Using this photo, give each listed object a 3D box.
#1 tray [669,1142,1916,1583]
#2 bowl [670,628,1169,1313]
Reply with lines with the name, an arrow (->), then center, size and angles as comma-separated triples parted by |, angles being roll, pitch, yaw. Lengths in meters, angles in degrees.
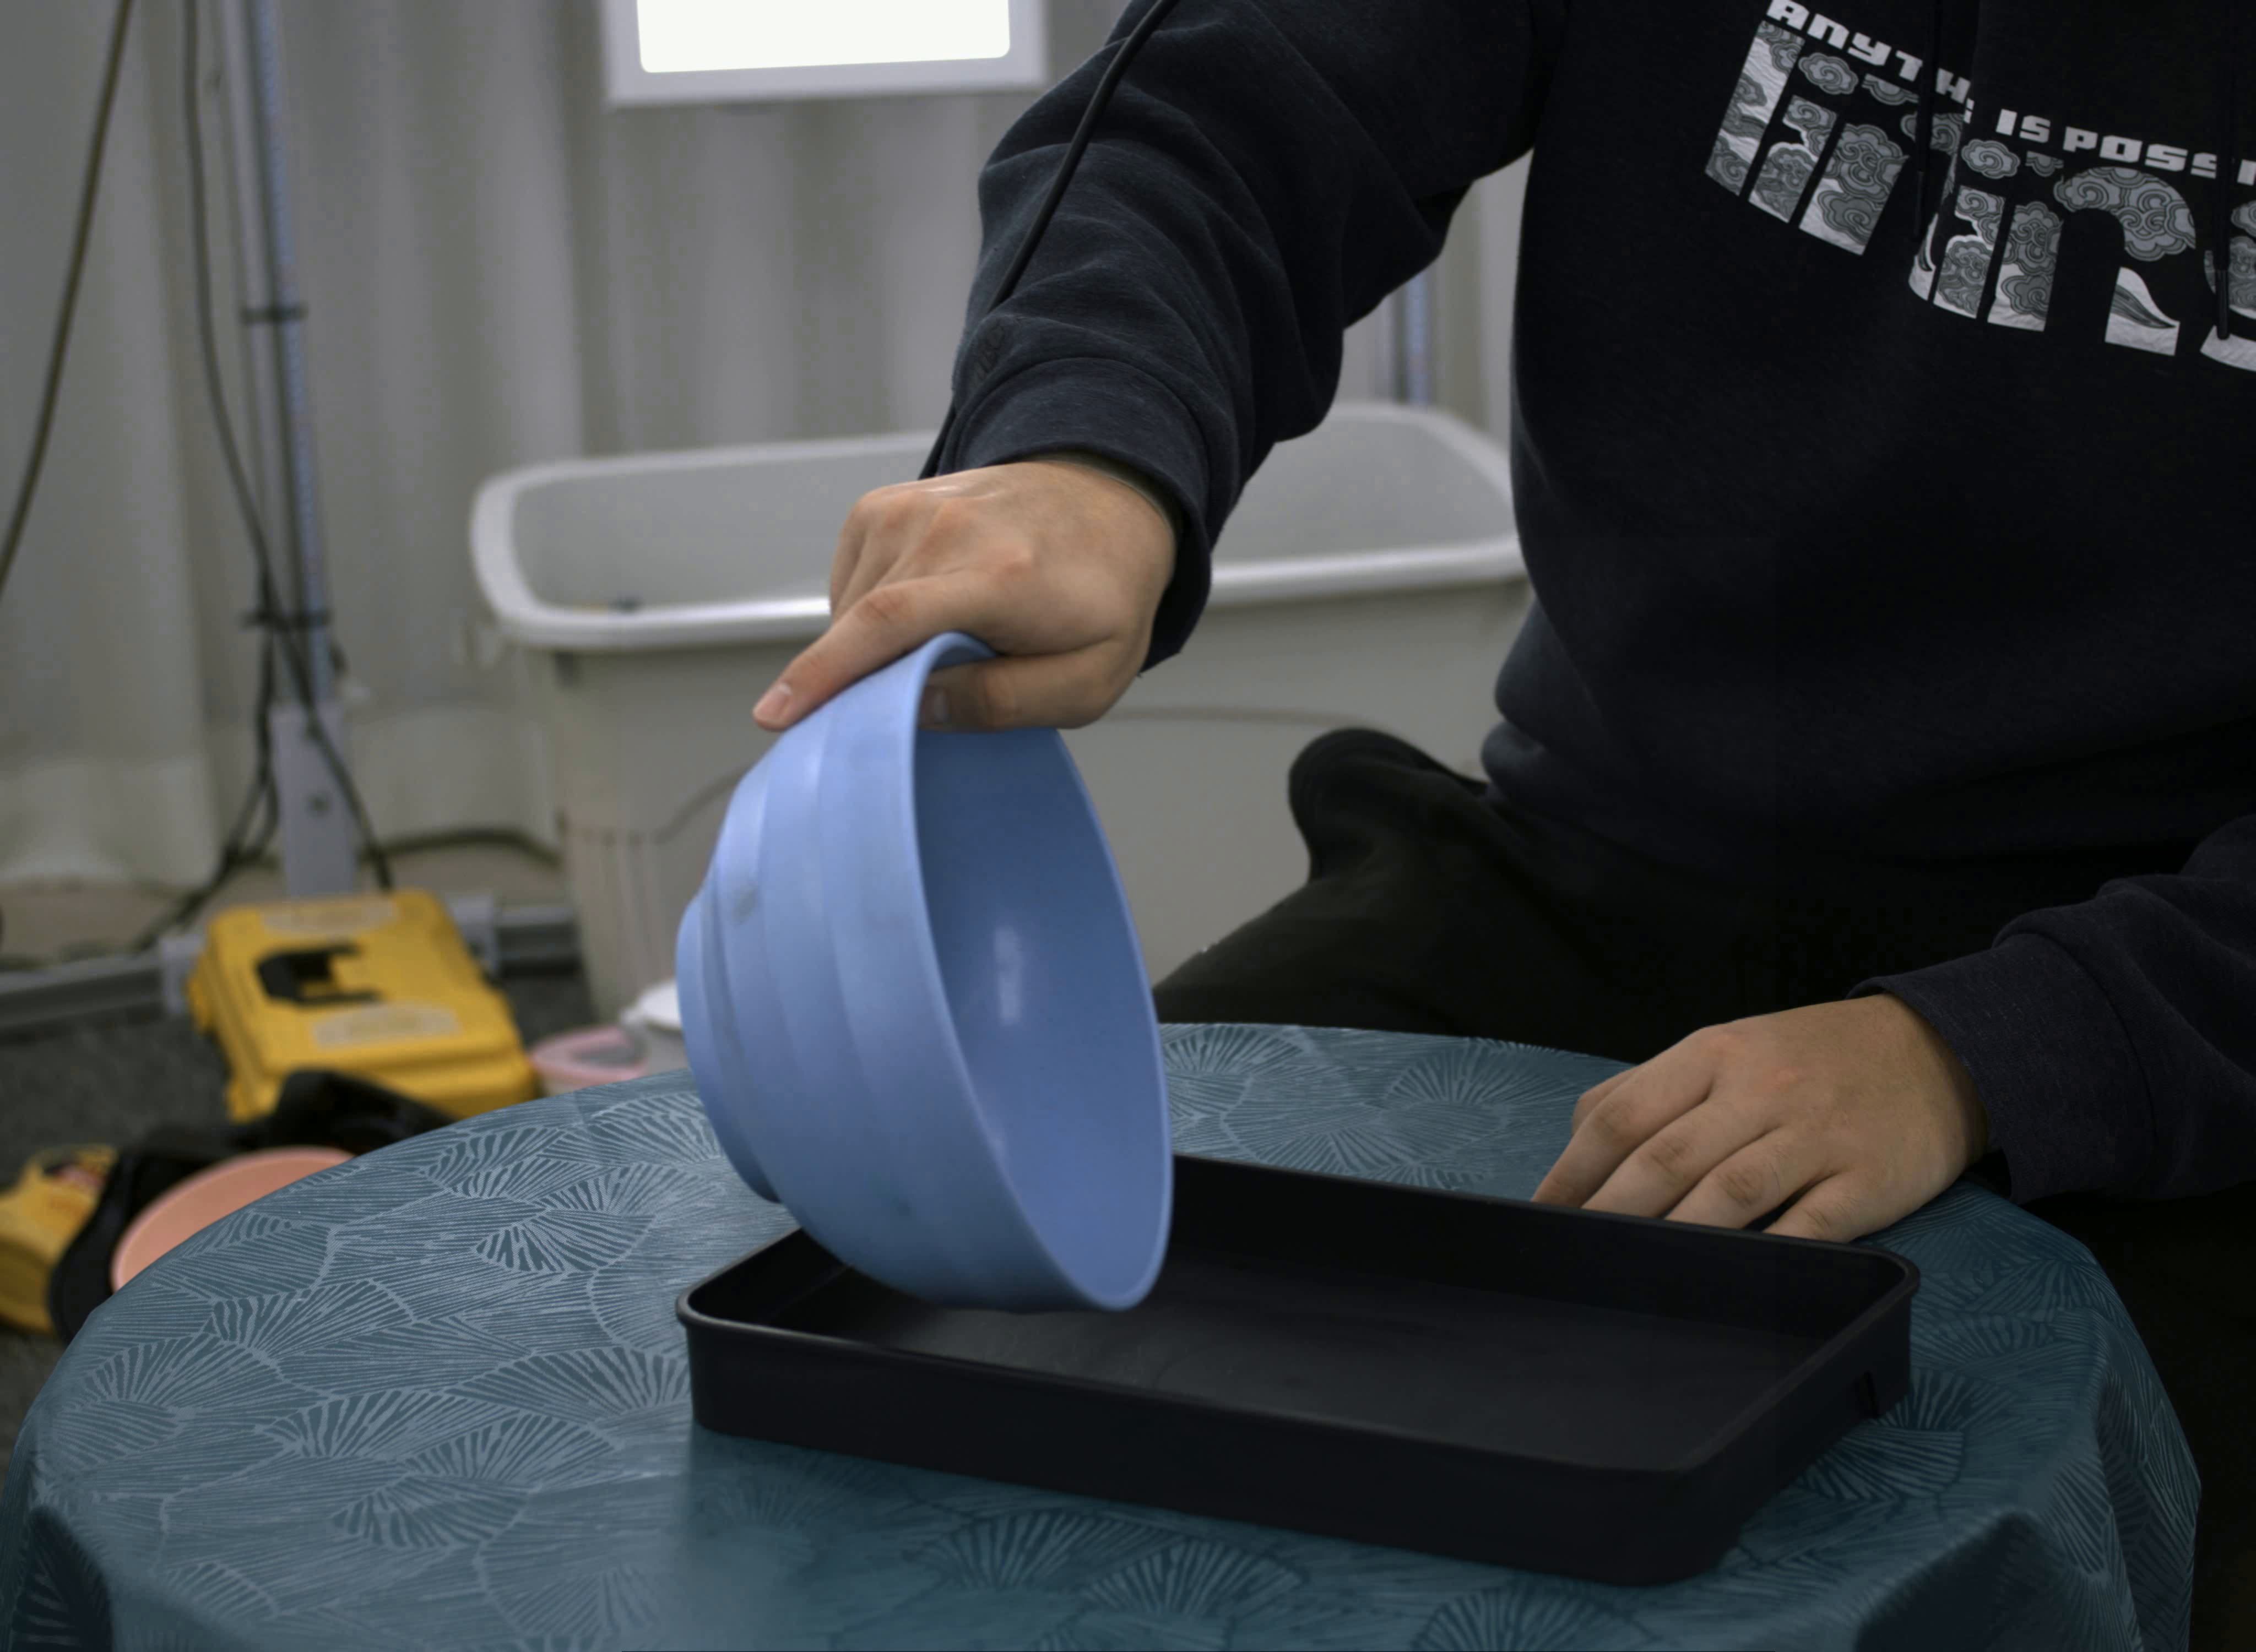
tray -> 0.045, 0.142, 1.531 | 0.319, 0.037, 0.184 | 6, 17, 29
bowl -> -0.067, 0.051, 1.543 | 0.095, 0.196, 0.197 | -16, 11, 17
